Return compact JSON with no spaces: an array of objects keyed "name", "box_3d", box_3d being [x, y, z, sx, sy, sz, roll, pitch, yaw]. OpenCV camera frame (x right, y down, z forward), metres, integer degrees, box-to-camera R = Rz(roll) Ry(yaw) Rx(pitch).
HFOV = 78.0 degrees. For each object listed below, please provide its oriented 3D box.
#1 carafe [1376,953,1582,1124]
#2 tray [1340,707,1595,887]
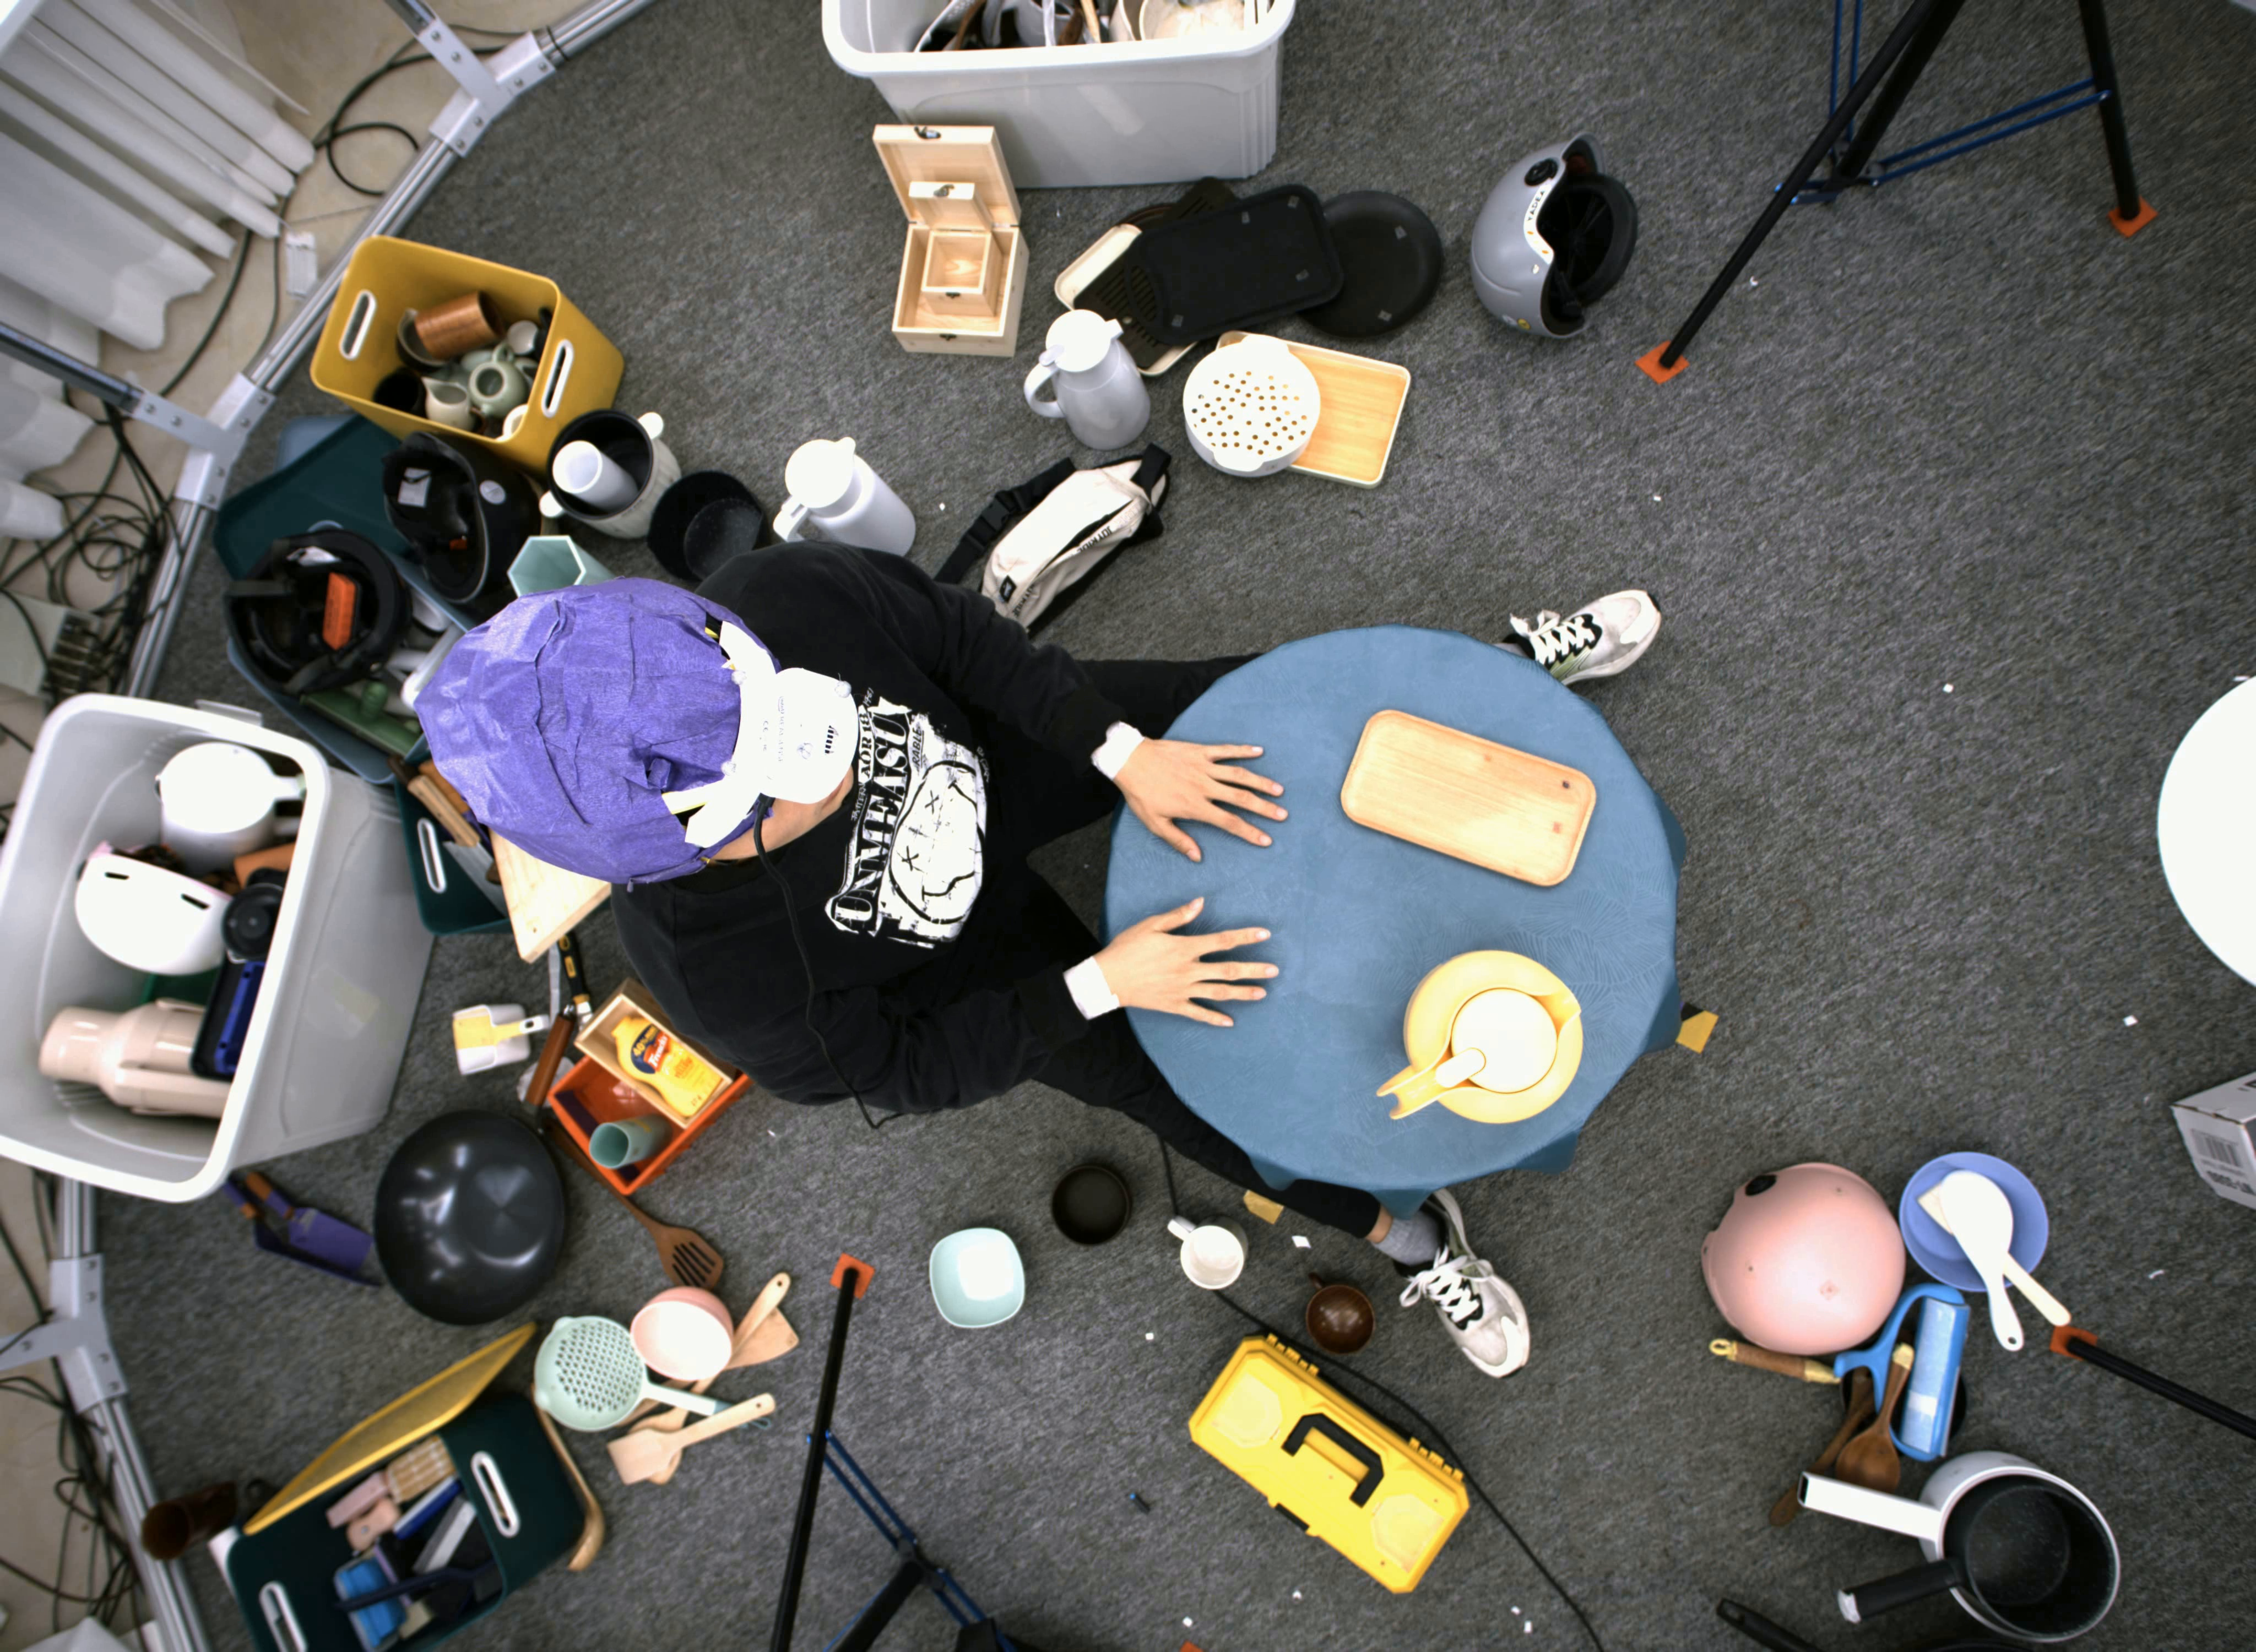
[{"name":"carafe","box_3d":[0.327,0.207,1.311,0.203,0.261,0.162,-30,78,5]},{"name":"tray","box_3d":[0.354,-0.033,1.442,0.250,0.023,0.130,21,89,12]}]
